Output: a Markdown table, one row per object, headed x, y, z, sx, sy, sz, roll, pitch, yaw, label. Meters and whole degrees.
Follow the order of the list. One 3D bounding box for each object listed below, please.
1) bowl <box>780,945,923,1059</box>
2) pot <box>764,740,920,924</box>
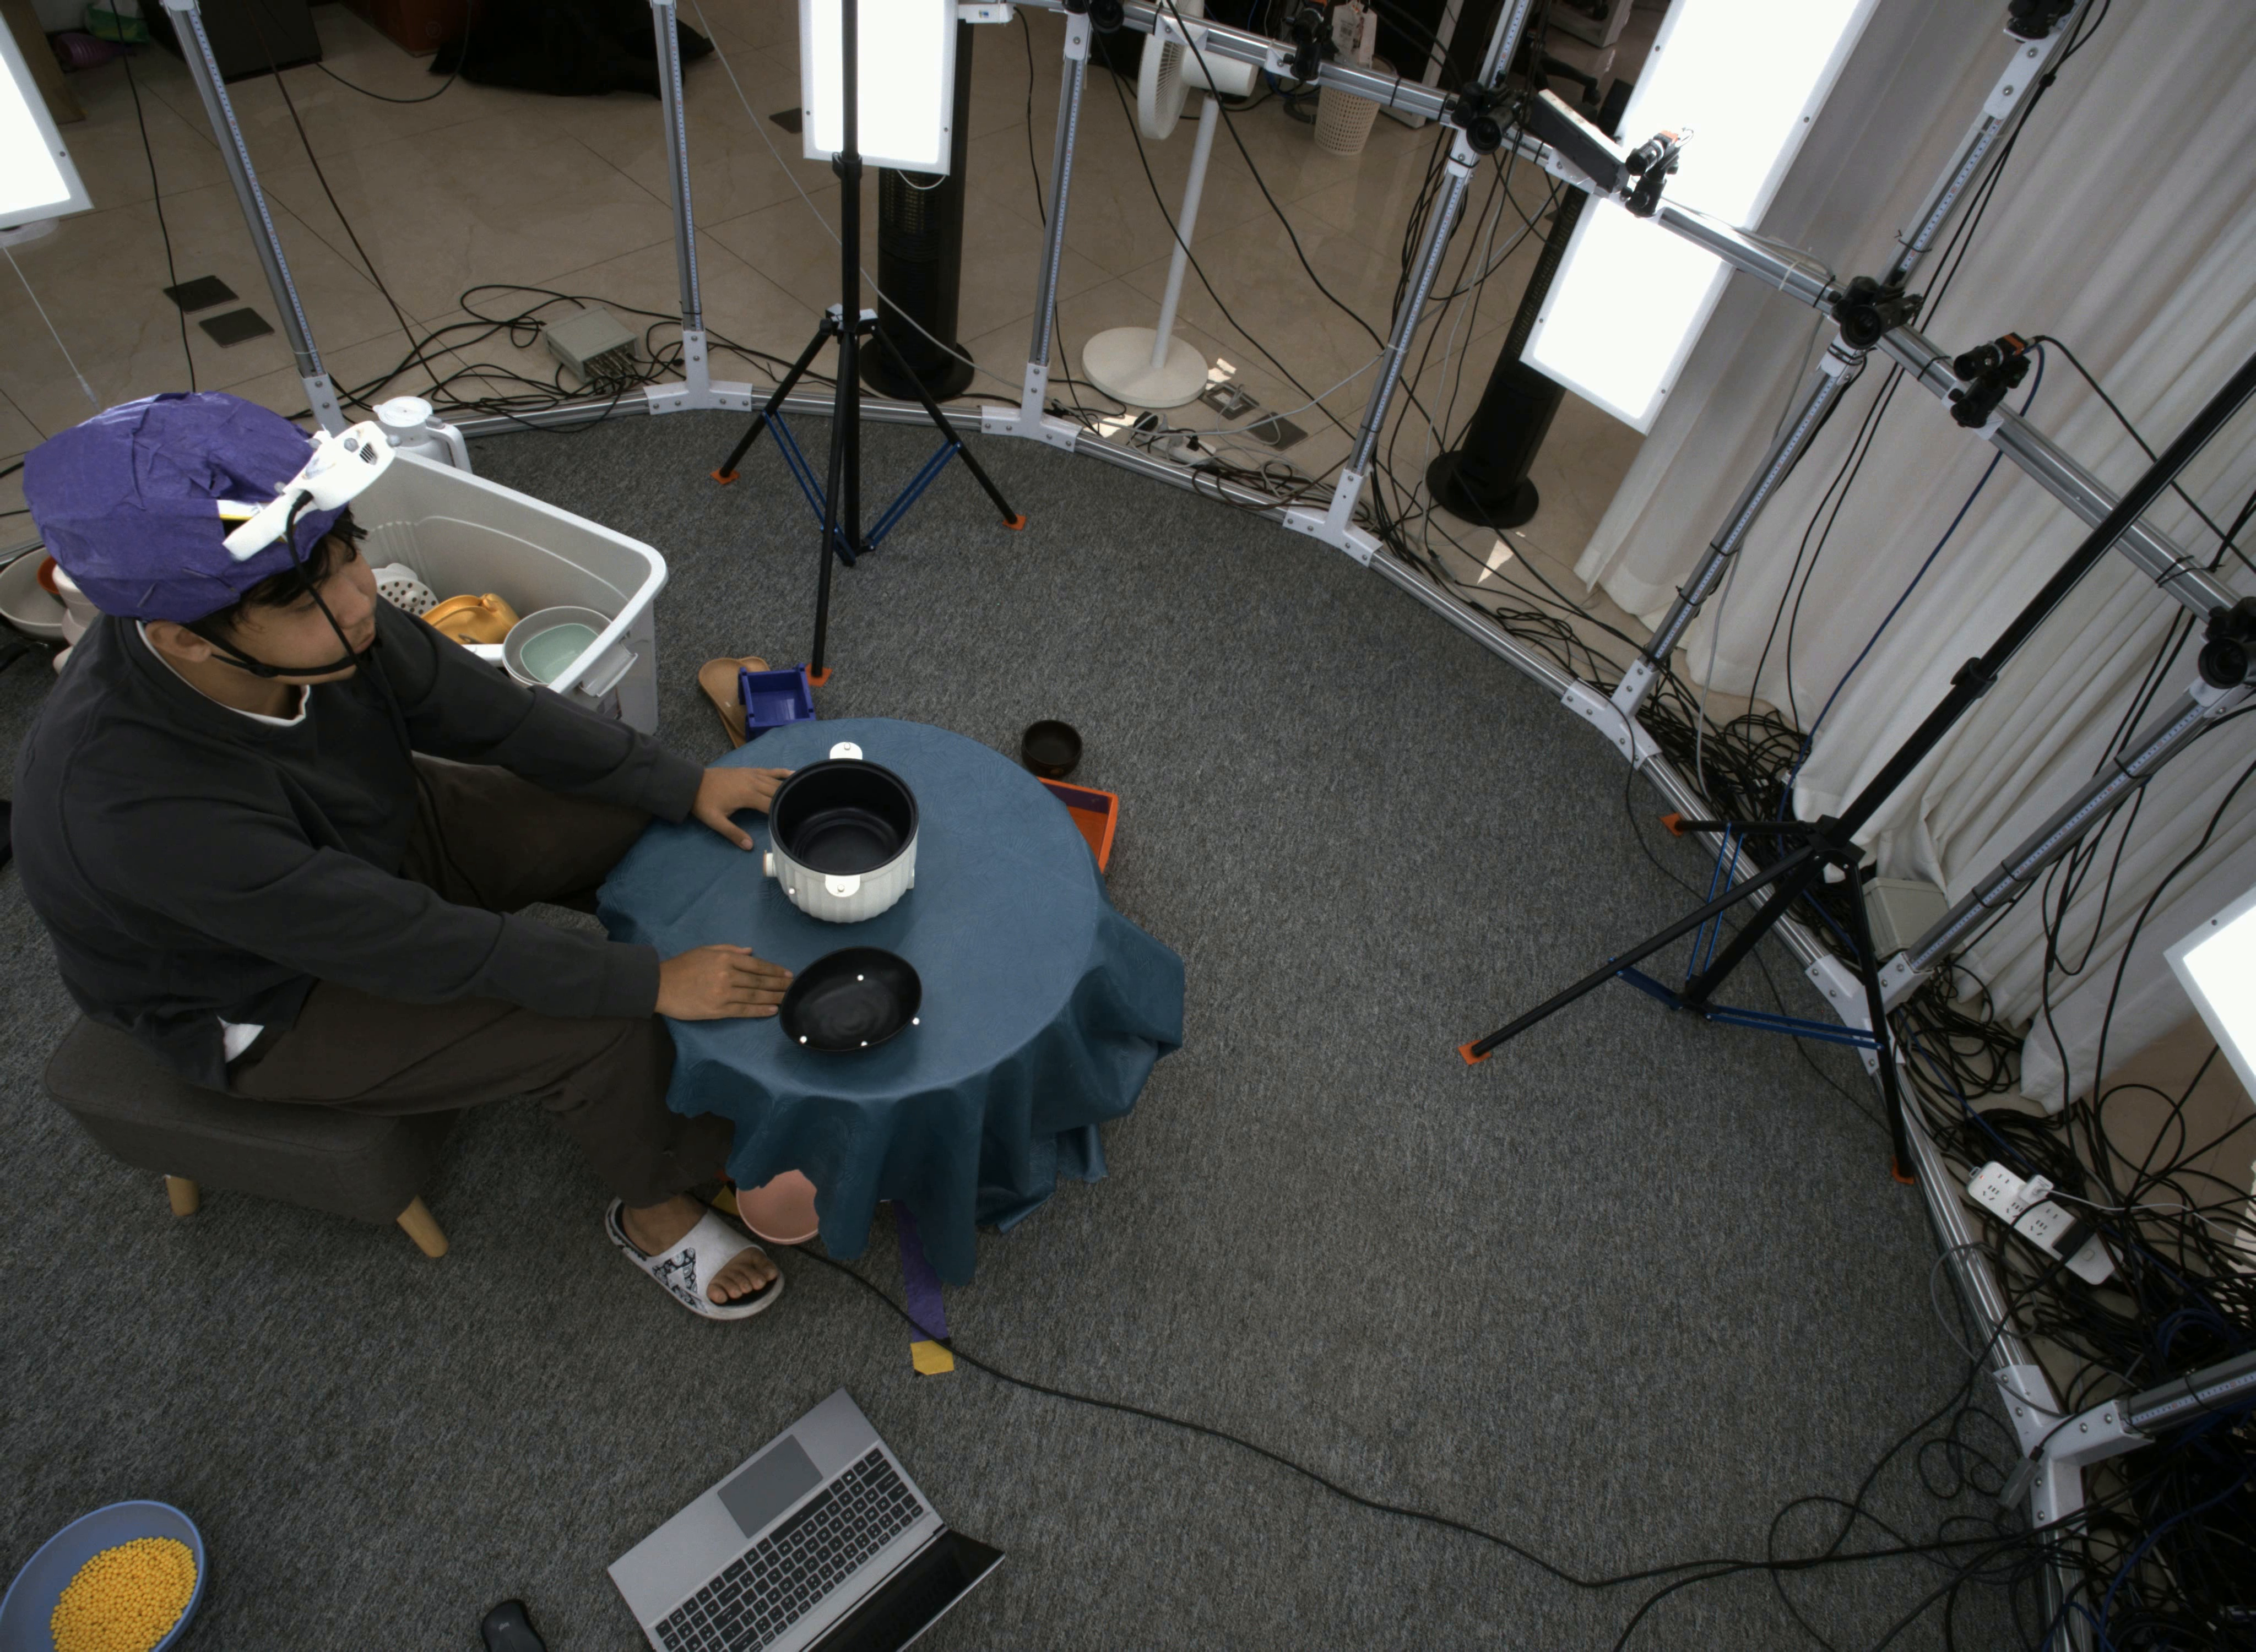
| x | y | z | sx | sy | sz | roll | pitch | yaw | label |
| --- | --- | --- | --- | --- | --- | --- | --- | --- | --- |
| -0.325 | 0.218 | 1.540 | 0.171 | 0.068 | 0.134 | -20 | 60 | -24 | bowl |
| -0.360 | 0.025 | 1.628 | 0.191 | 0.145 | 0.235 | 2 | 52 | -15 | pot |
